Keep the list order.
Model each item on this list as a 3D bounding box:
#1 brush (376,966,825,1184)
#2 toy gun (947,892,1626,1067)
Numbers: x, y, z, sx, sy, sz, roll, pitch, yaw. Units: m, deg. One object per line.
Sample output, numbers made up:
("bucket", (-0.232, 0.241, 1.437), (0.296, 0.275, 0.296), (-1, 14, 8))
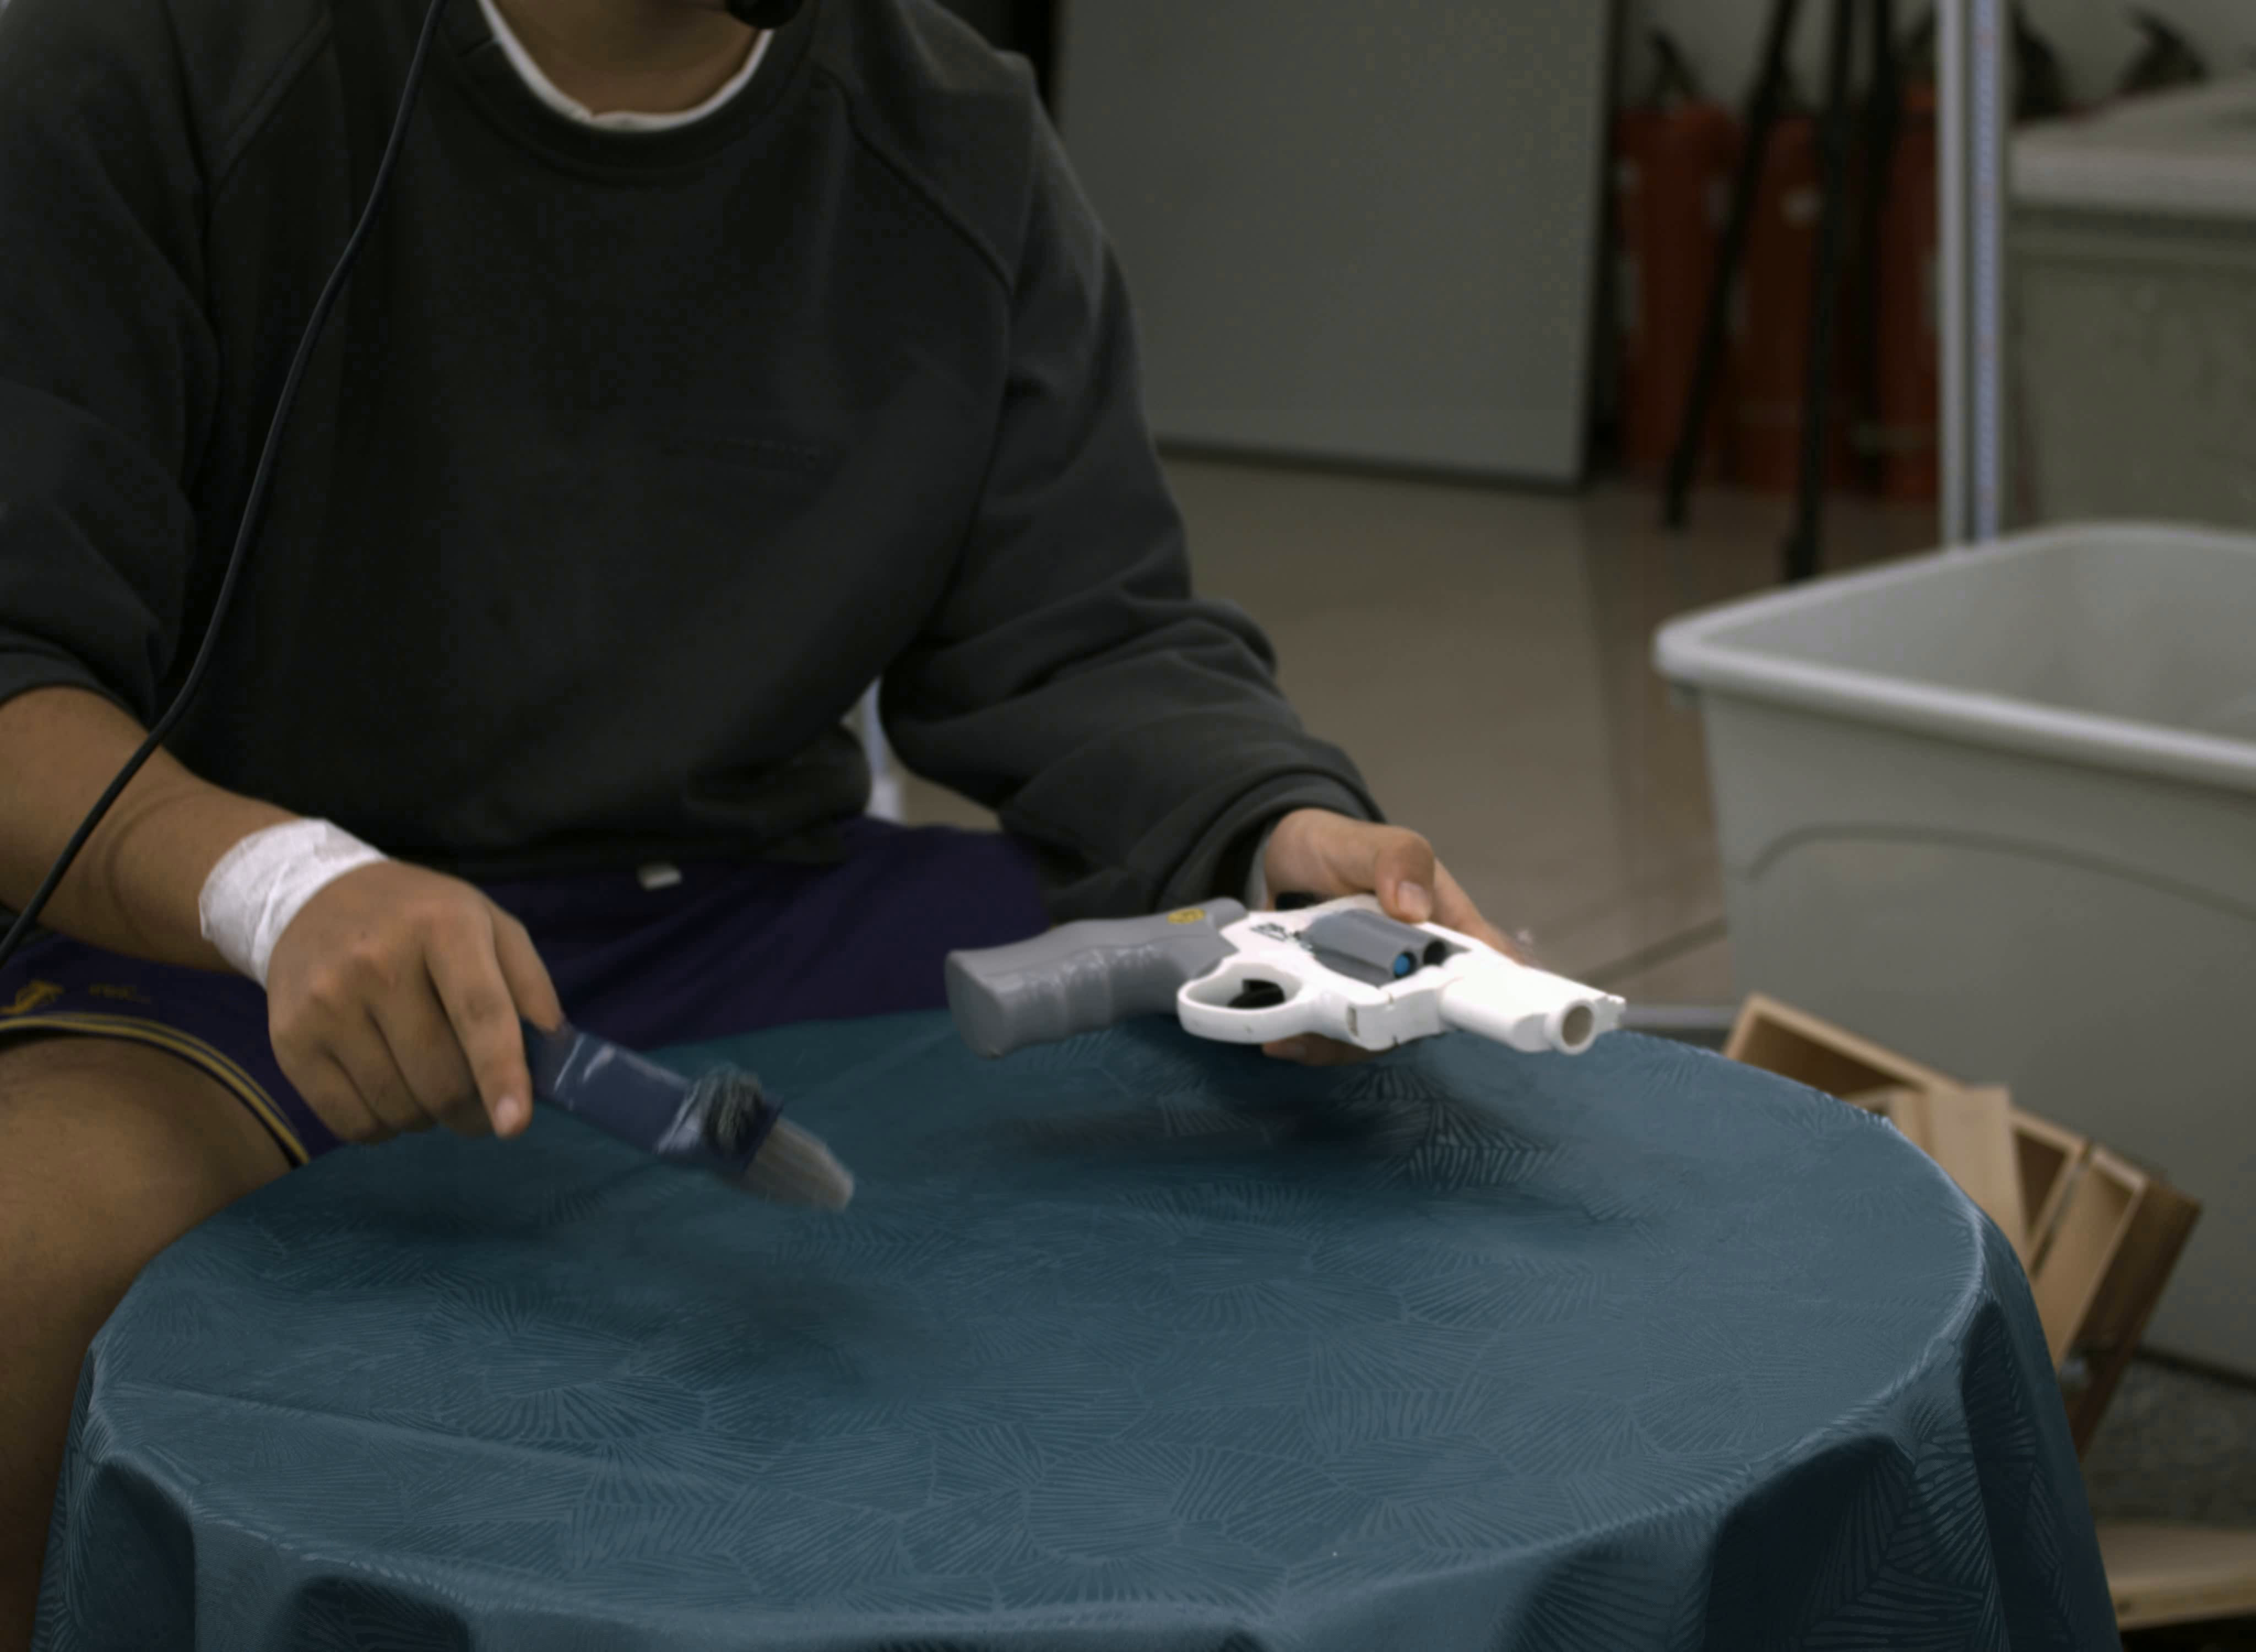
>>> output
("brush", (-0.181, 0.071, 1.713), (0.094, 0.034, 0.276), (37, -14, -38))
("toy gun", (0.047, 0.056, 1.770), (0.139, 0.039, 0.211), (-20, 21, -31))
